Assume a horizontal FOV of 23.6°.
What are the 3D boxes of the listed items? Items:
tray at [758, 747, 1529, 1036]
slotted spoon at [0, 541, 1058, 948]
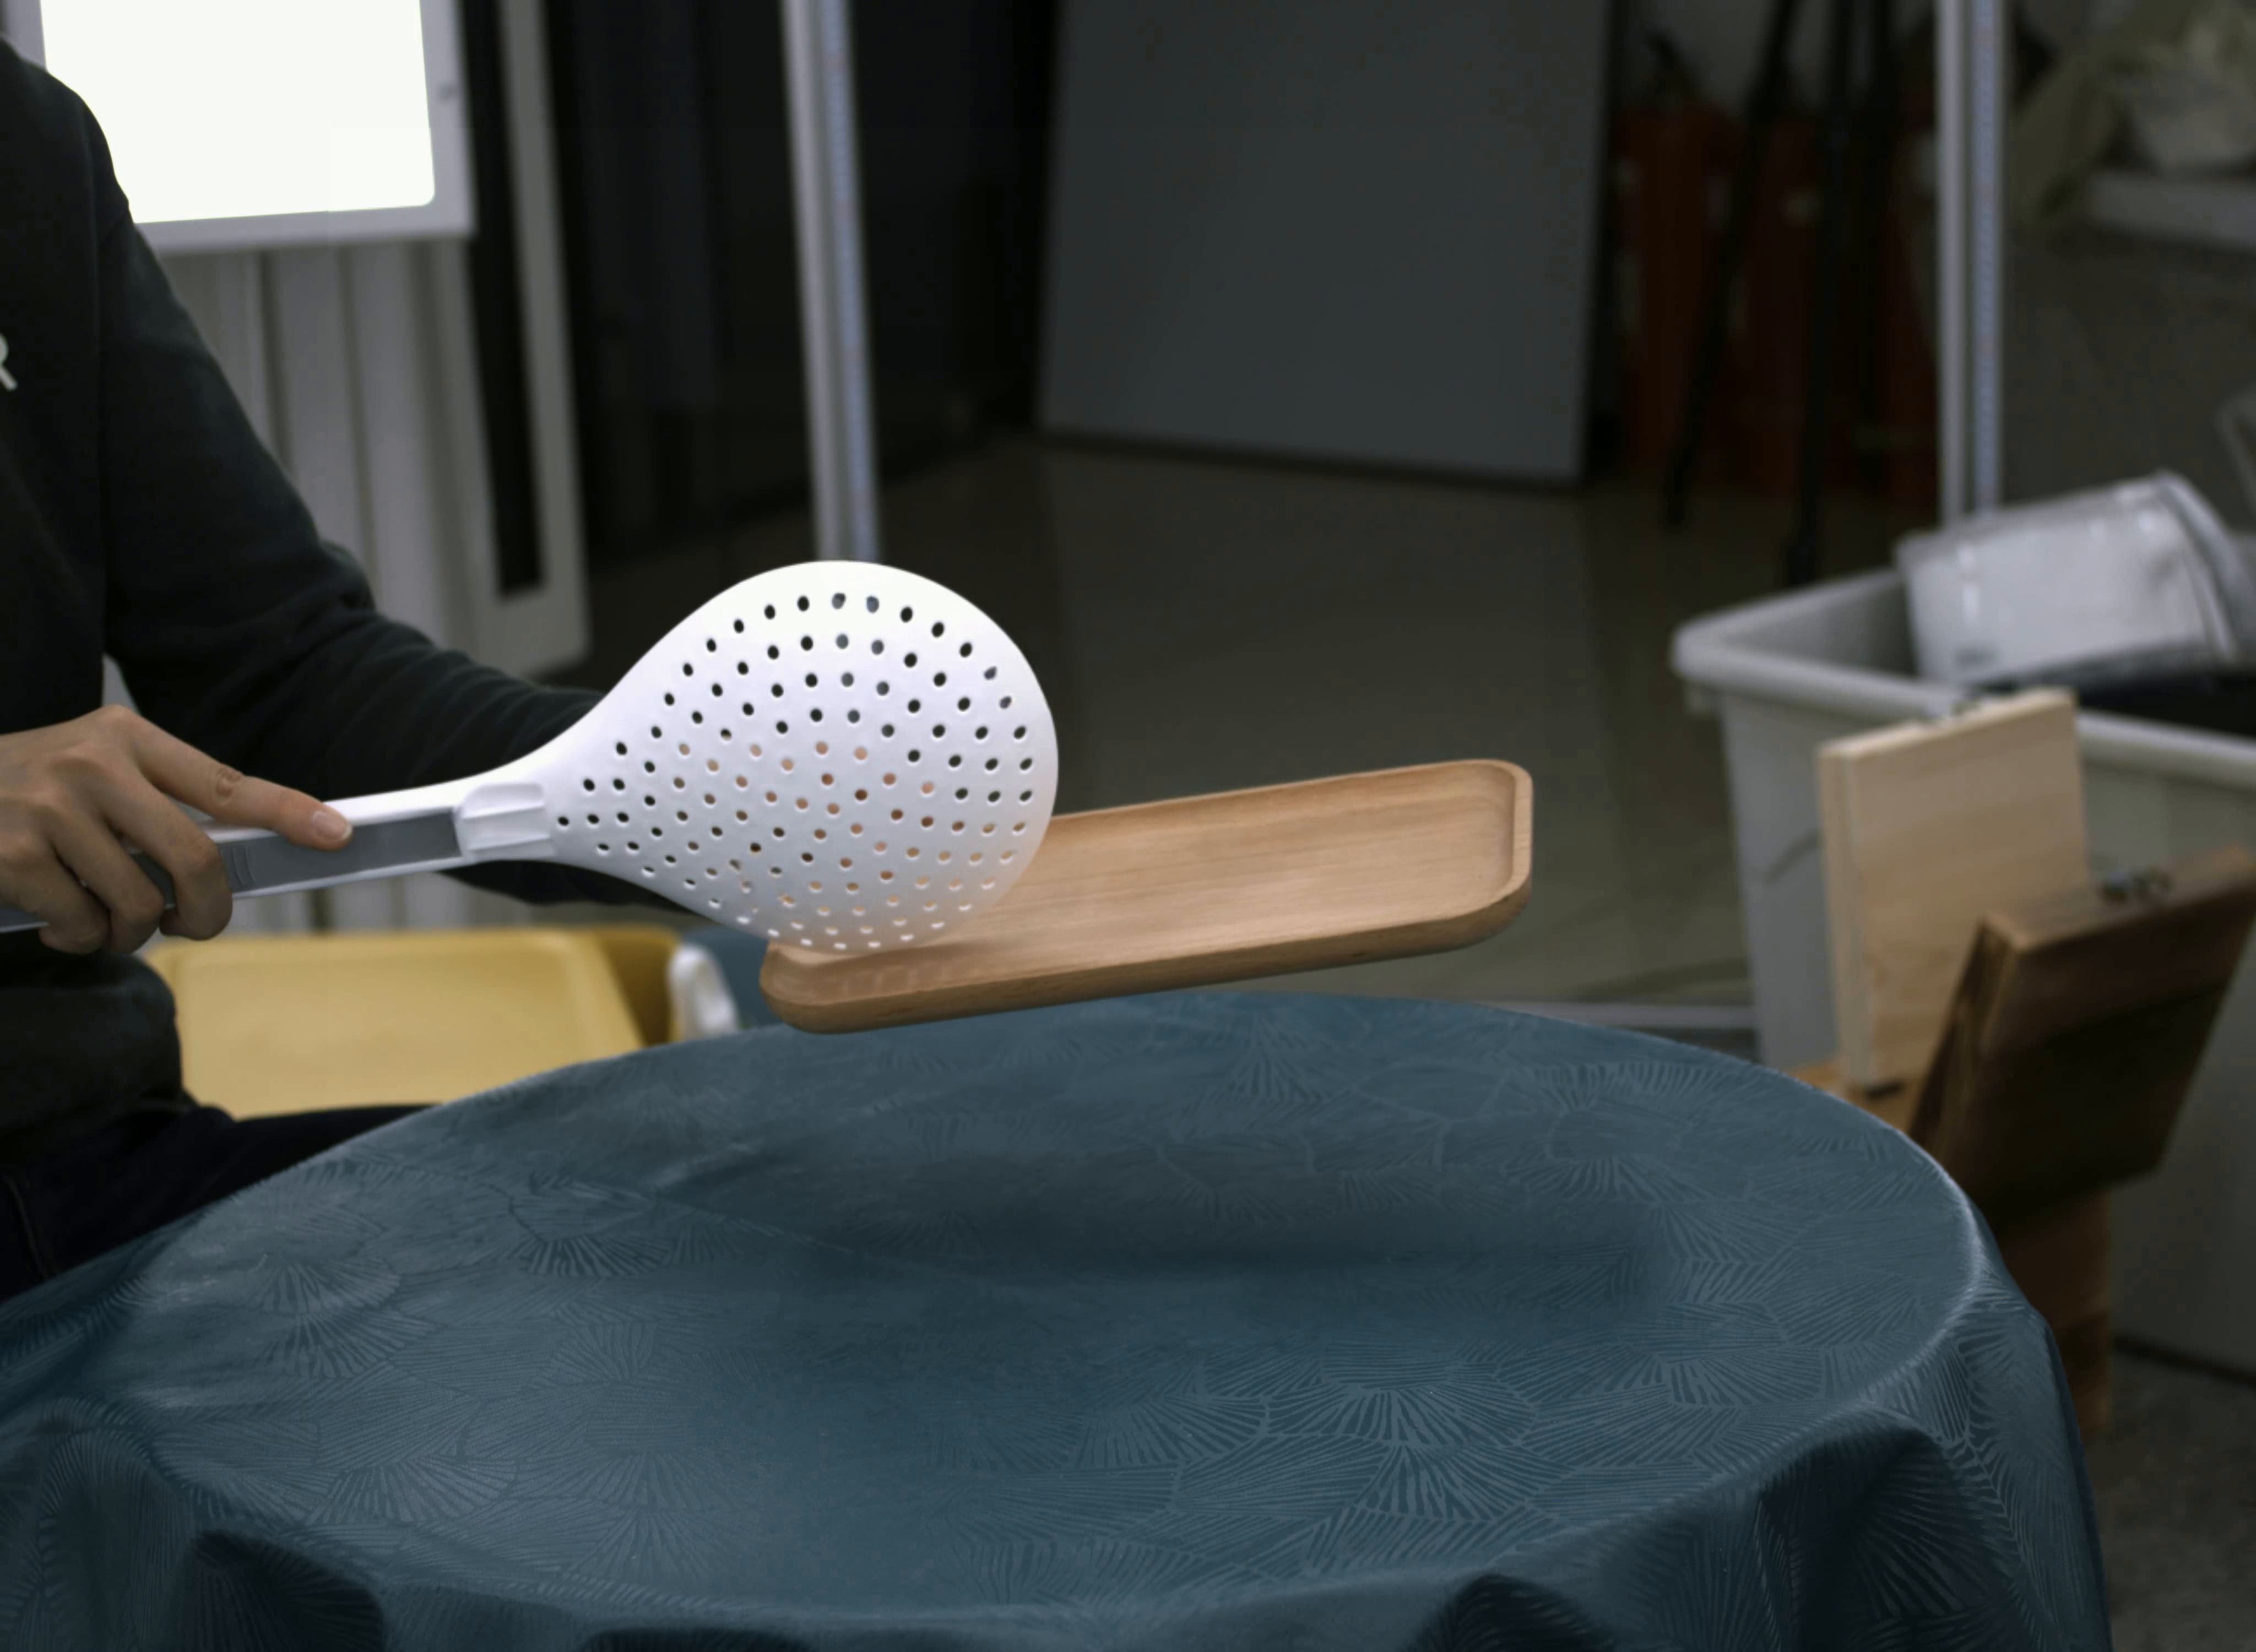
[{"bbox_3d":[0.007,0.021,1.730,0.249,0.023,0.130,-9,20,10],"label":"tray"},{"bbox_3d":[-0.194,-0.004,1.713,0.347,0.137,0.045,-8,20,12],"label":"slotted spoon"}]
